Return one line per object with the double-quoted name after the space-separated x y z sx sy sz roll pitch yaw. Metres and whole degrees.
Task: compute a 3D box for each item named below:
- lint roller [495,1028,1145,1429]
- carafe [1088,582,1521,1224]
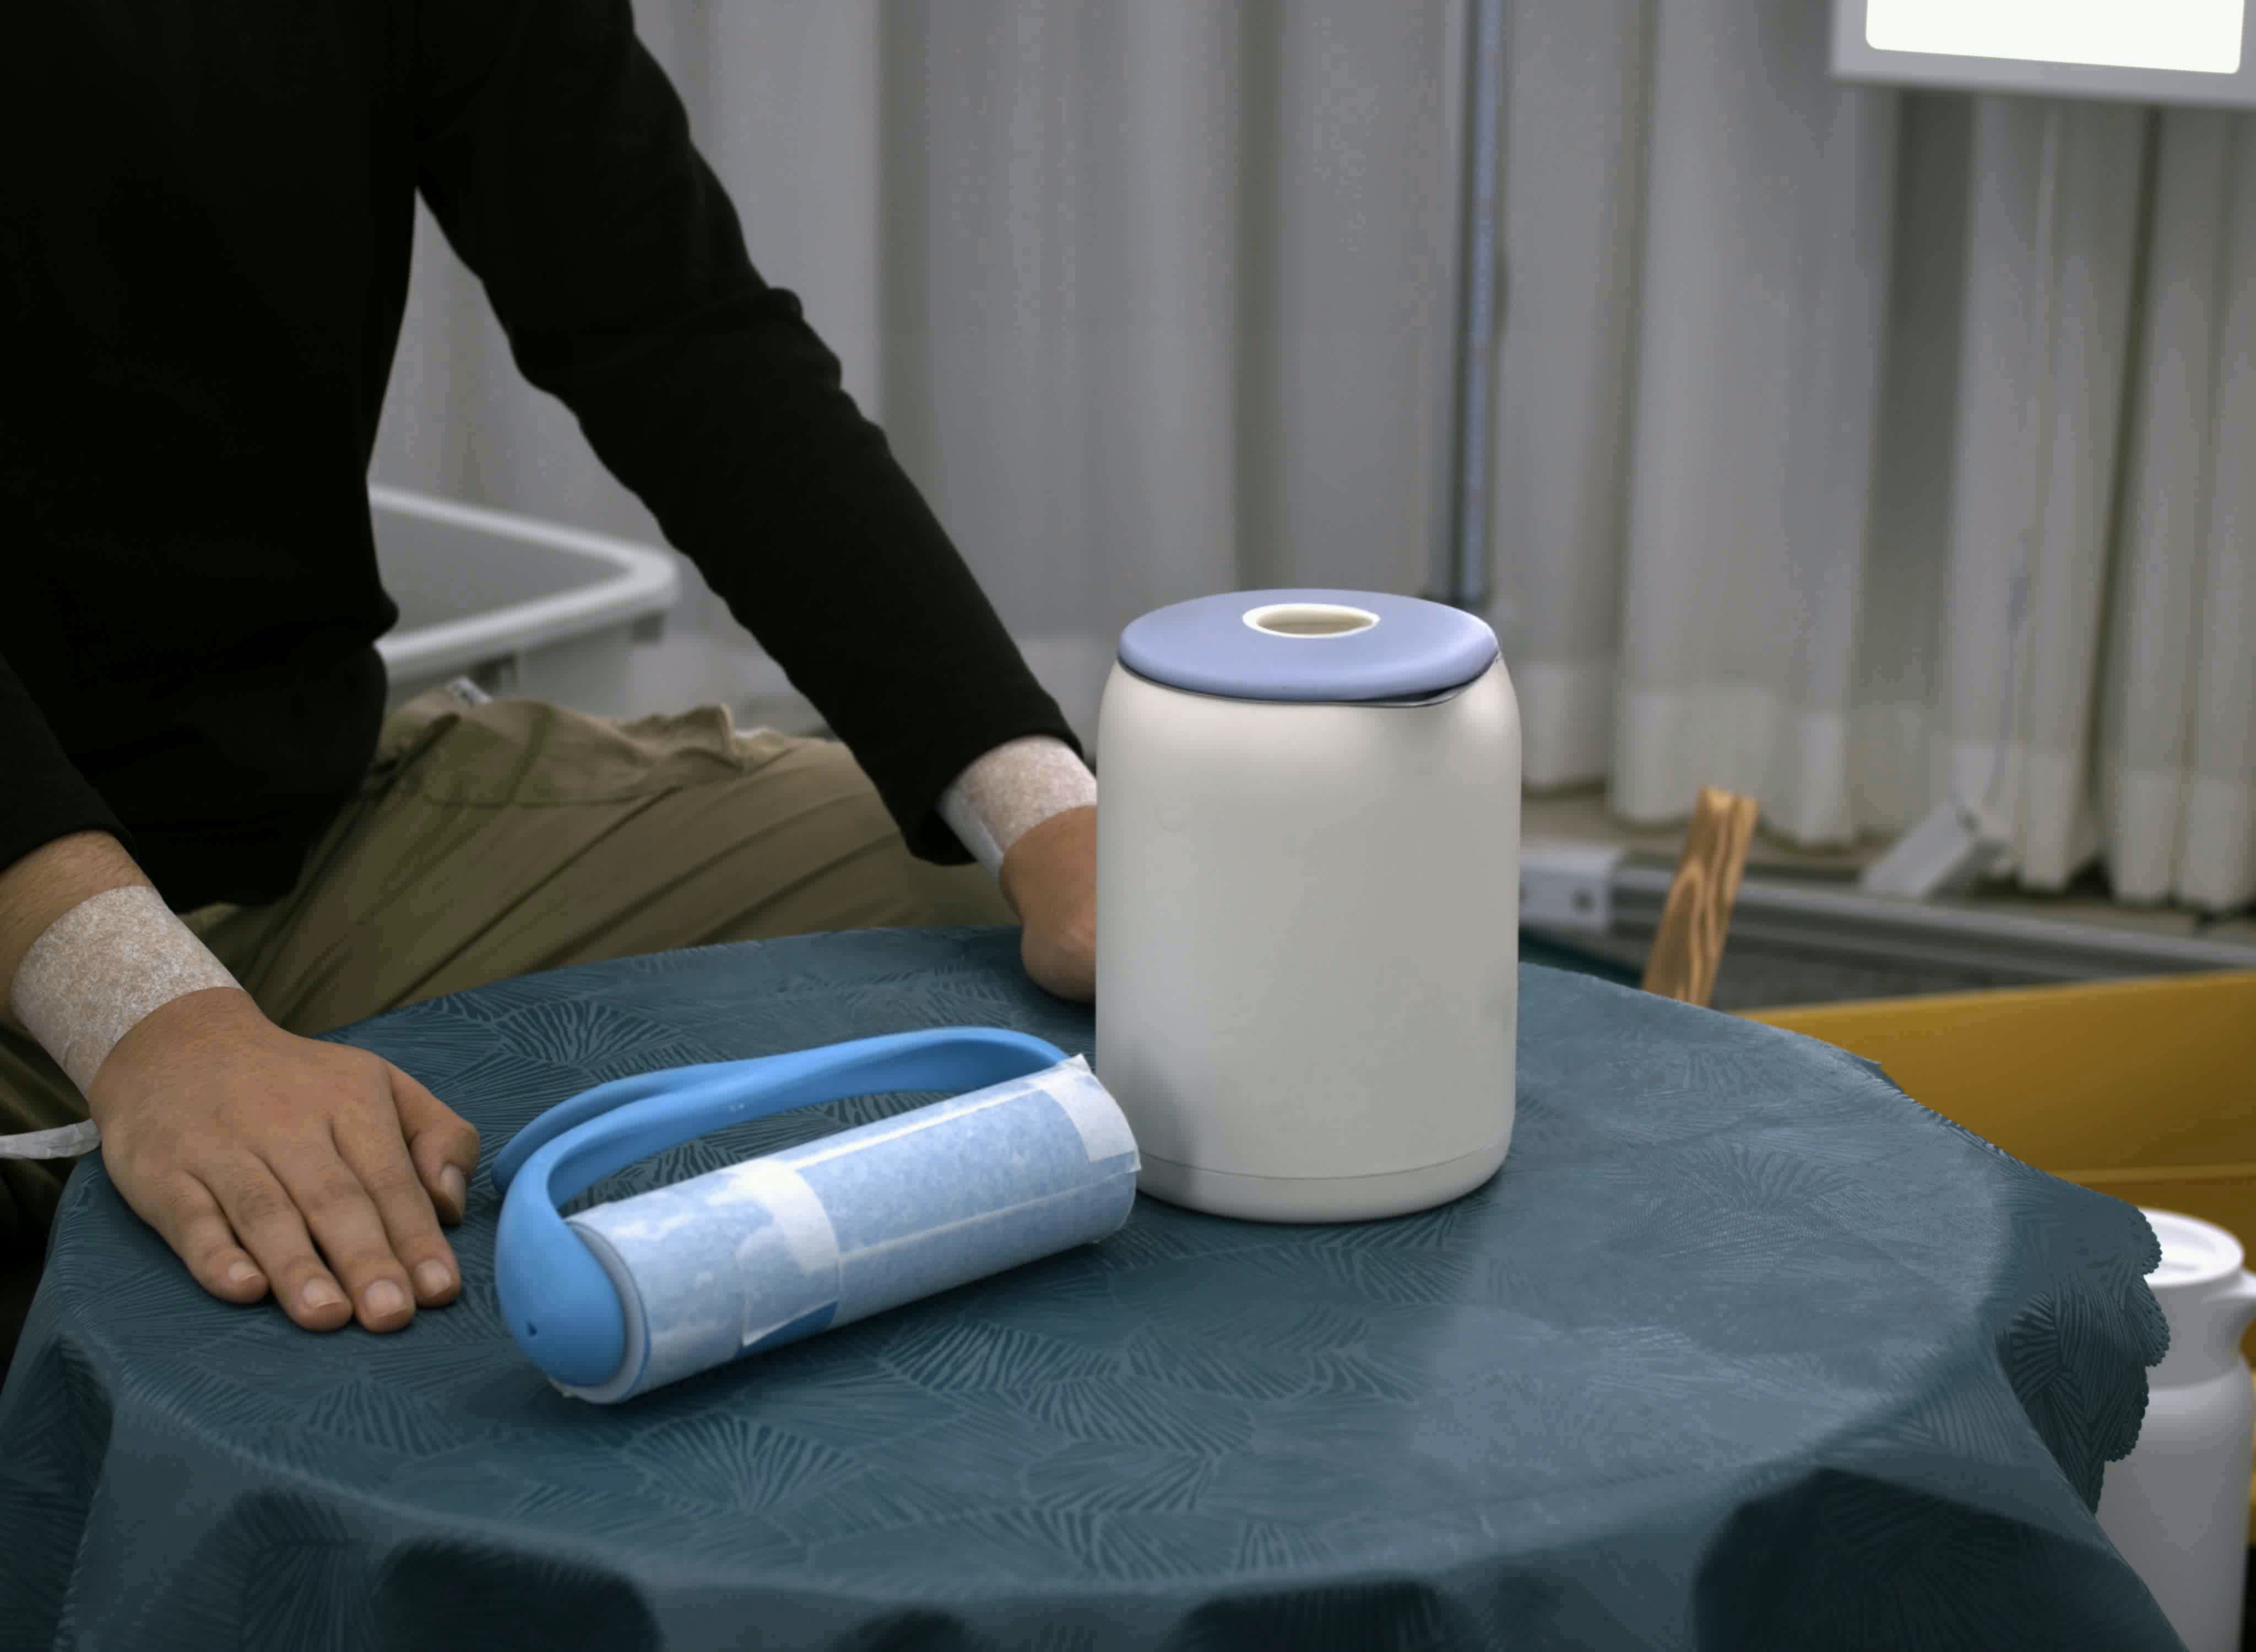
-0.125 0.101 1.545 0.178 0.068 0.230 22 29 38 "lint roller"
0.043 0.017 1.643 0.133 0.184 0.188 -9 16 -30 "carafe"
